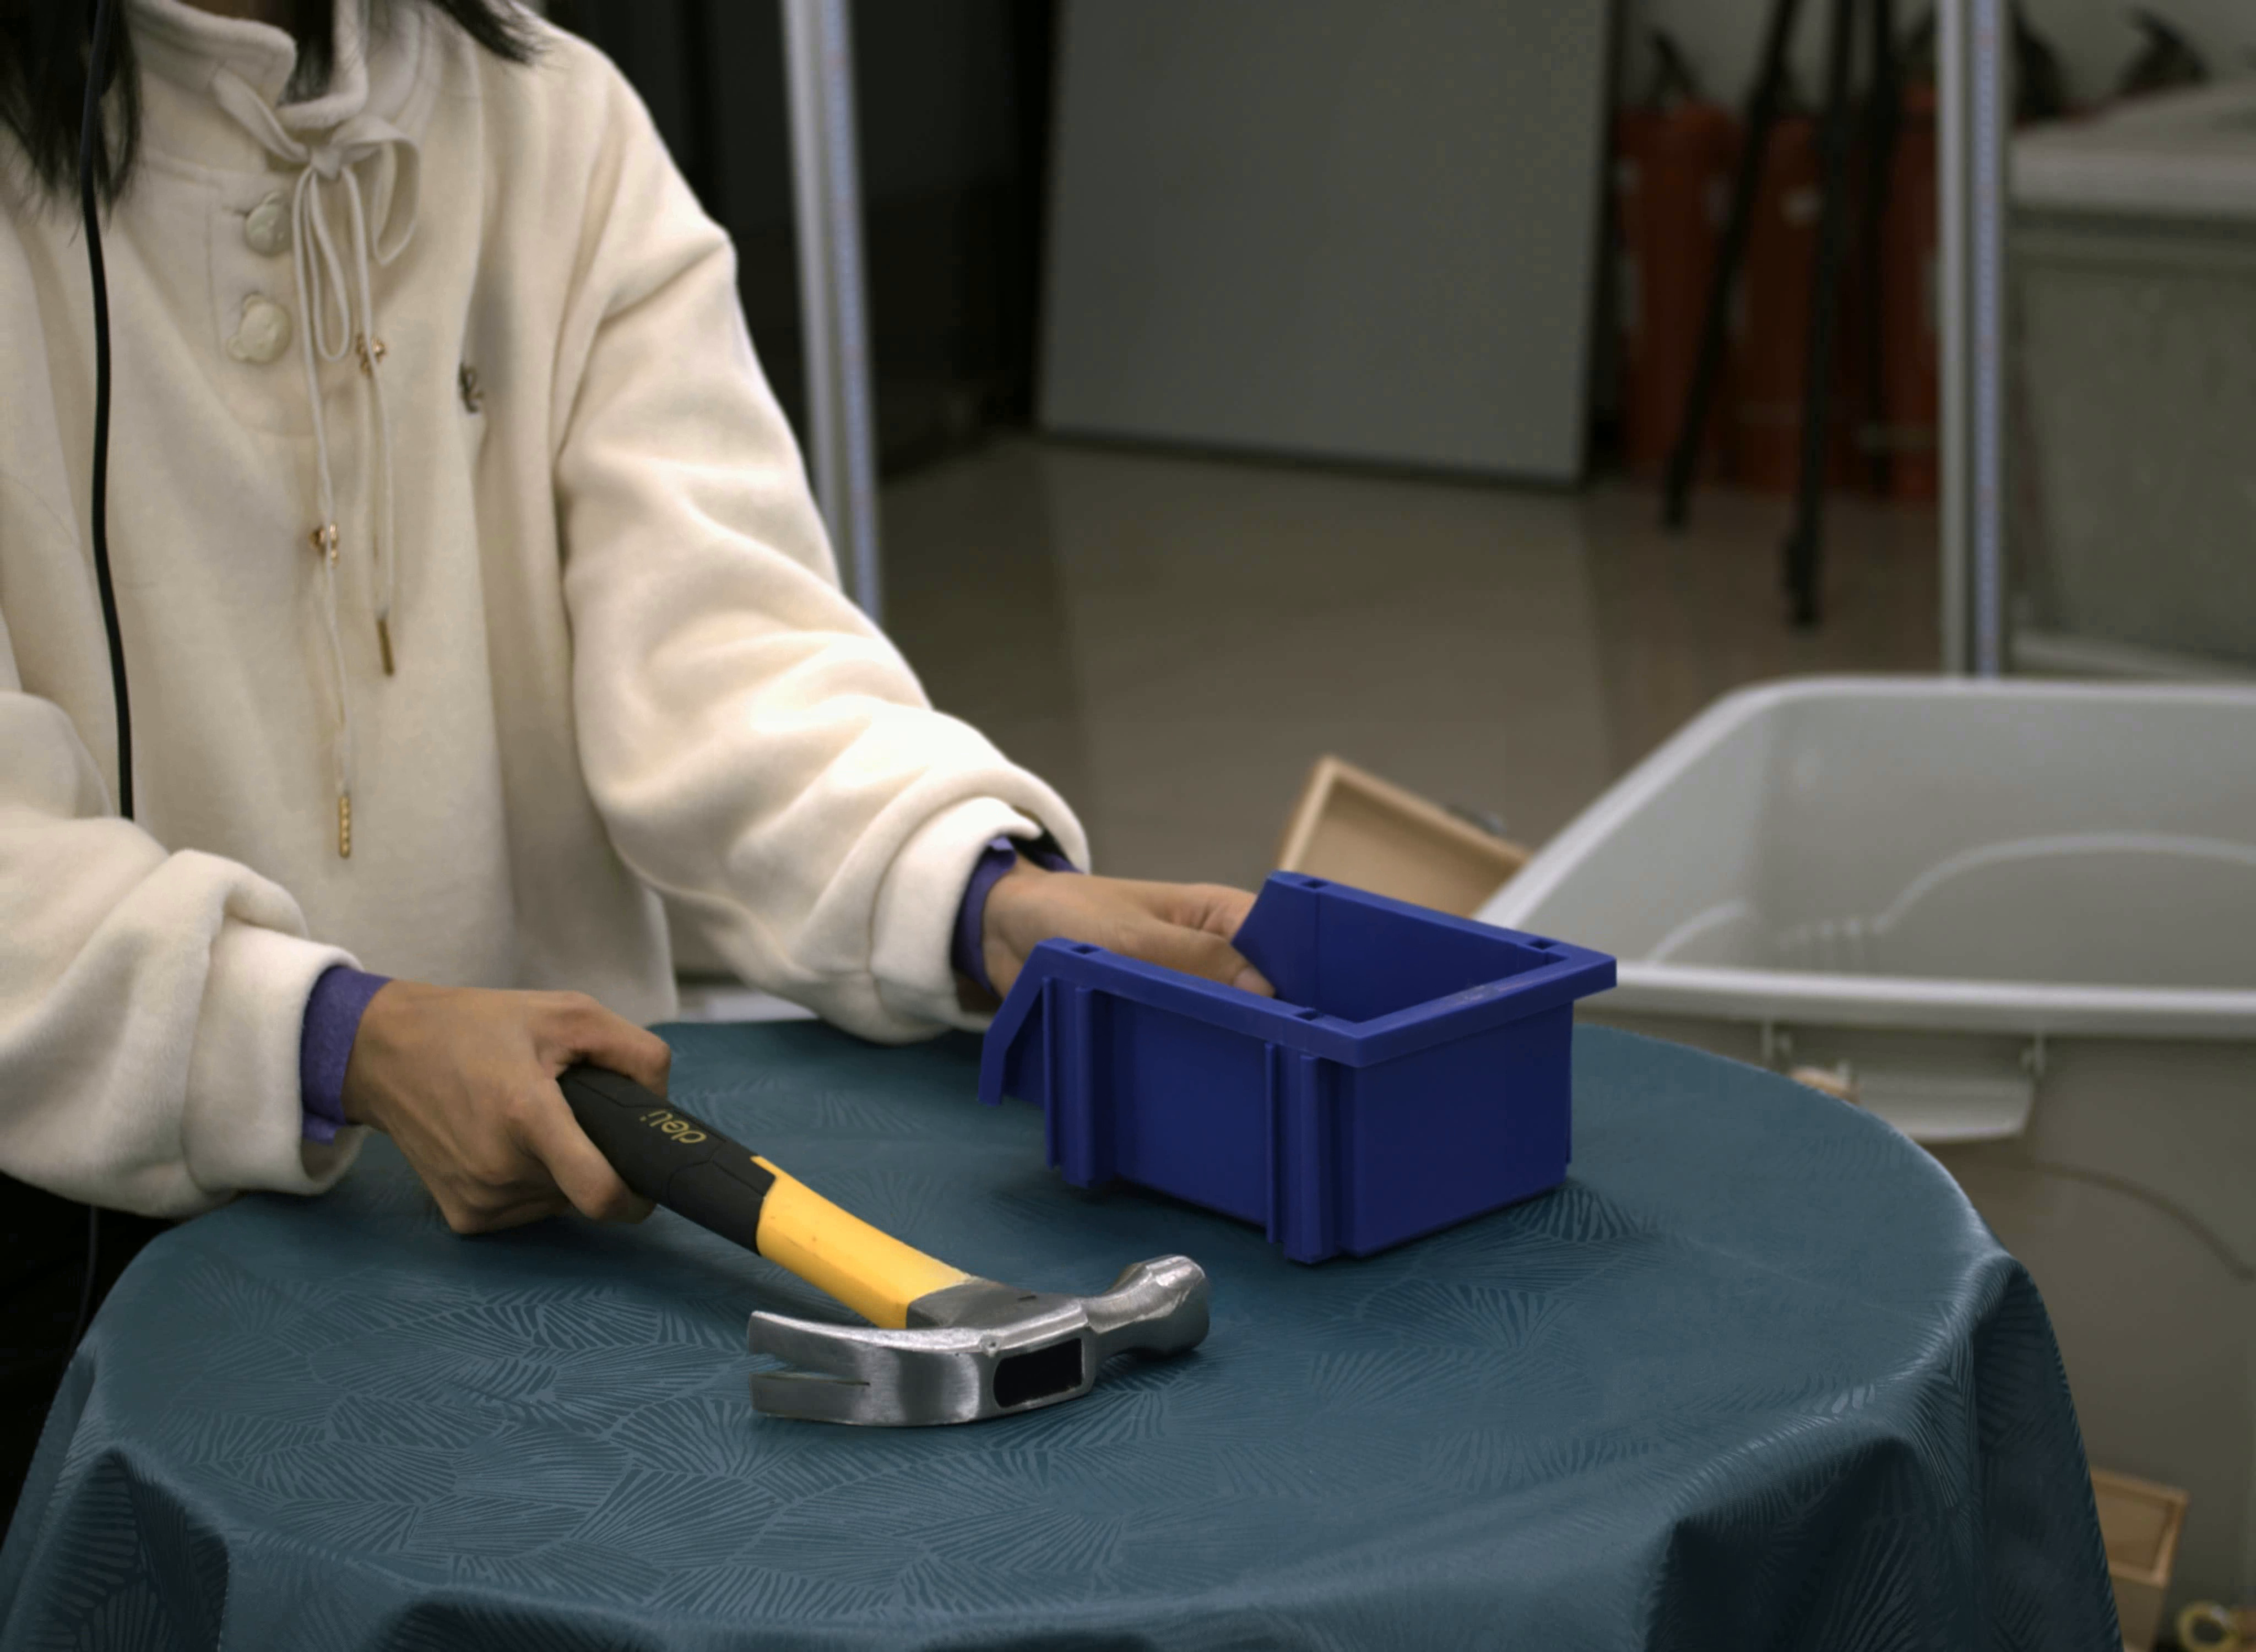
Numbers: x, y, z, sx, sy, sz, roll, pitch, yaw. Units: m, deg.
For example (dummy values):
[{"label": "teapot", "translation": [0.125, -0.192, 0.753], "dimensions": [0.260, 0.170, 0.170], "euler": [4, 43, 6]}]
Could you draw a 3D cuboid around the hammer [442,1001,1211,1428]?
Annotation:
[{"label": "hammer", "translation": [-0.122, 0.114, 1.701], "dimensions": [0.128, 0.032, 0.342], "euler": [-15, 23, -31]}]

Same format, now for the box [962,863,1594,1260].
[{"label": "box", "translation": [0.046, 0.073, 1.761], "dimensions": [0.122, 0.083, 0.181], "euler": [-14, 21, -39]}]
